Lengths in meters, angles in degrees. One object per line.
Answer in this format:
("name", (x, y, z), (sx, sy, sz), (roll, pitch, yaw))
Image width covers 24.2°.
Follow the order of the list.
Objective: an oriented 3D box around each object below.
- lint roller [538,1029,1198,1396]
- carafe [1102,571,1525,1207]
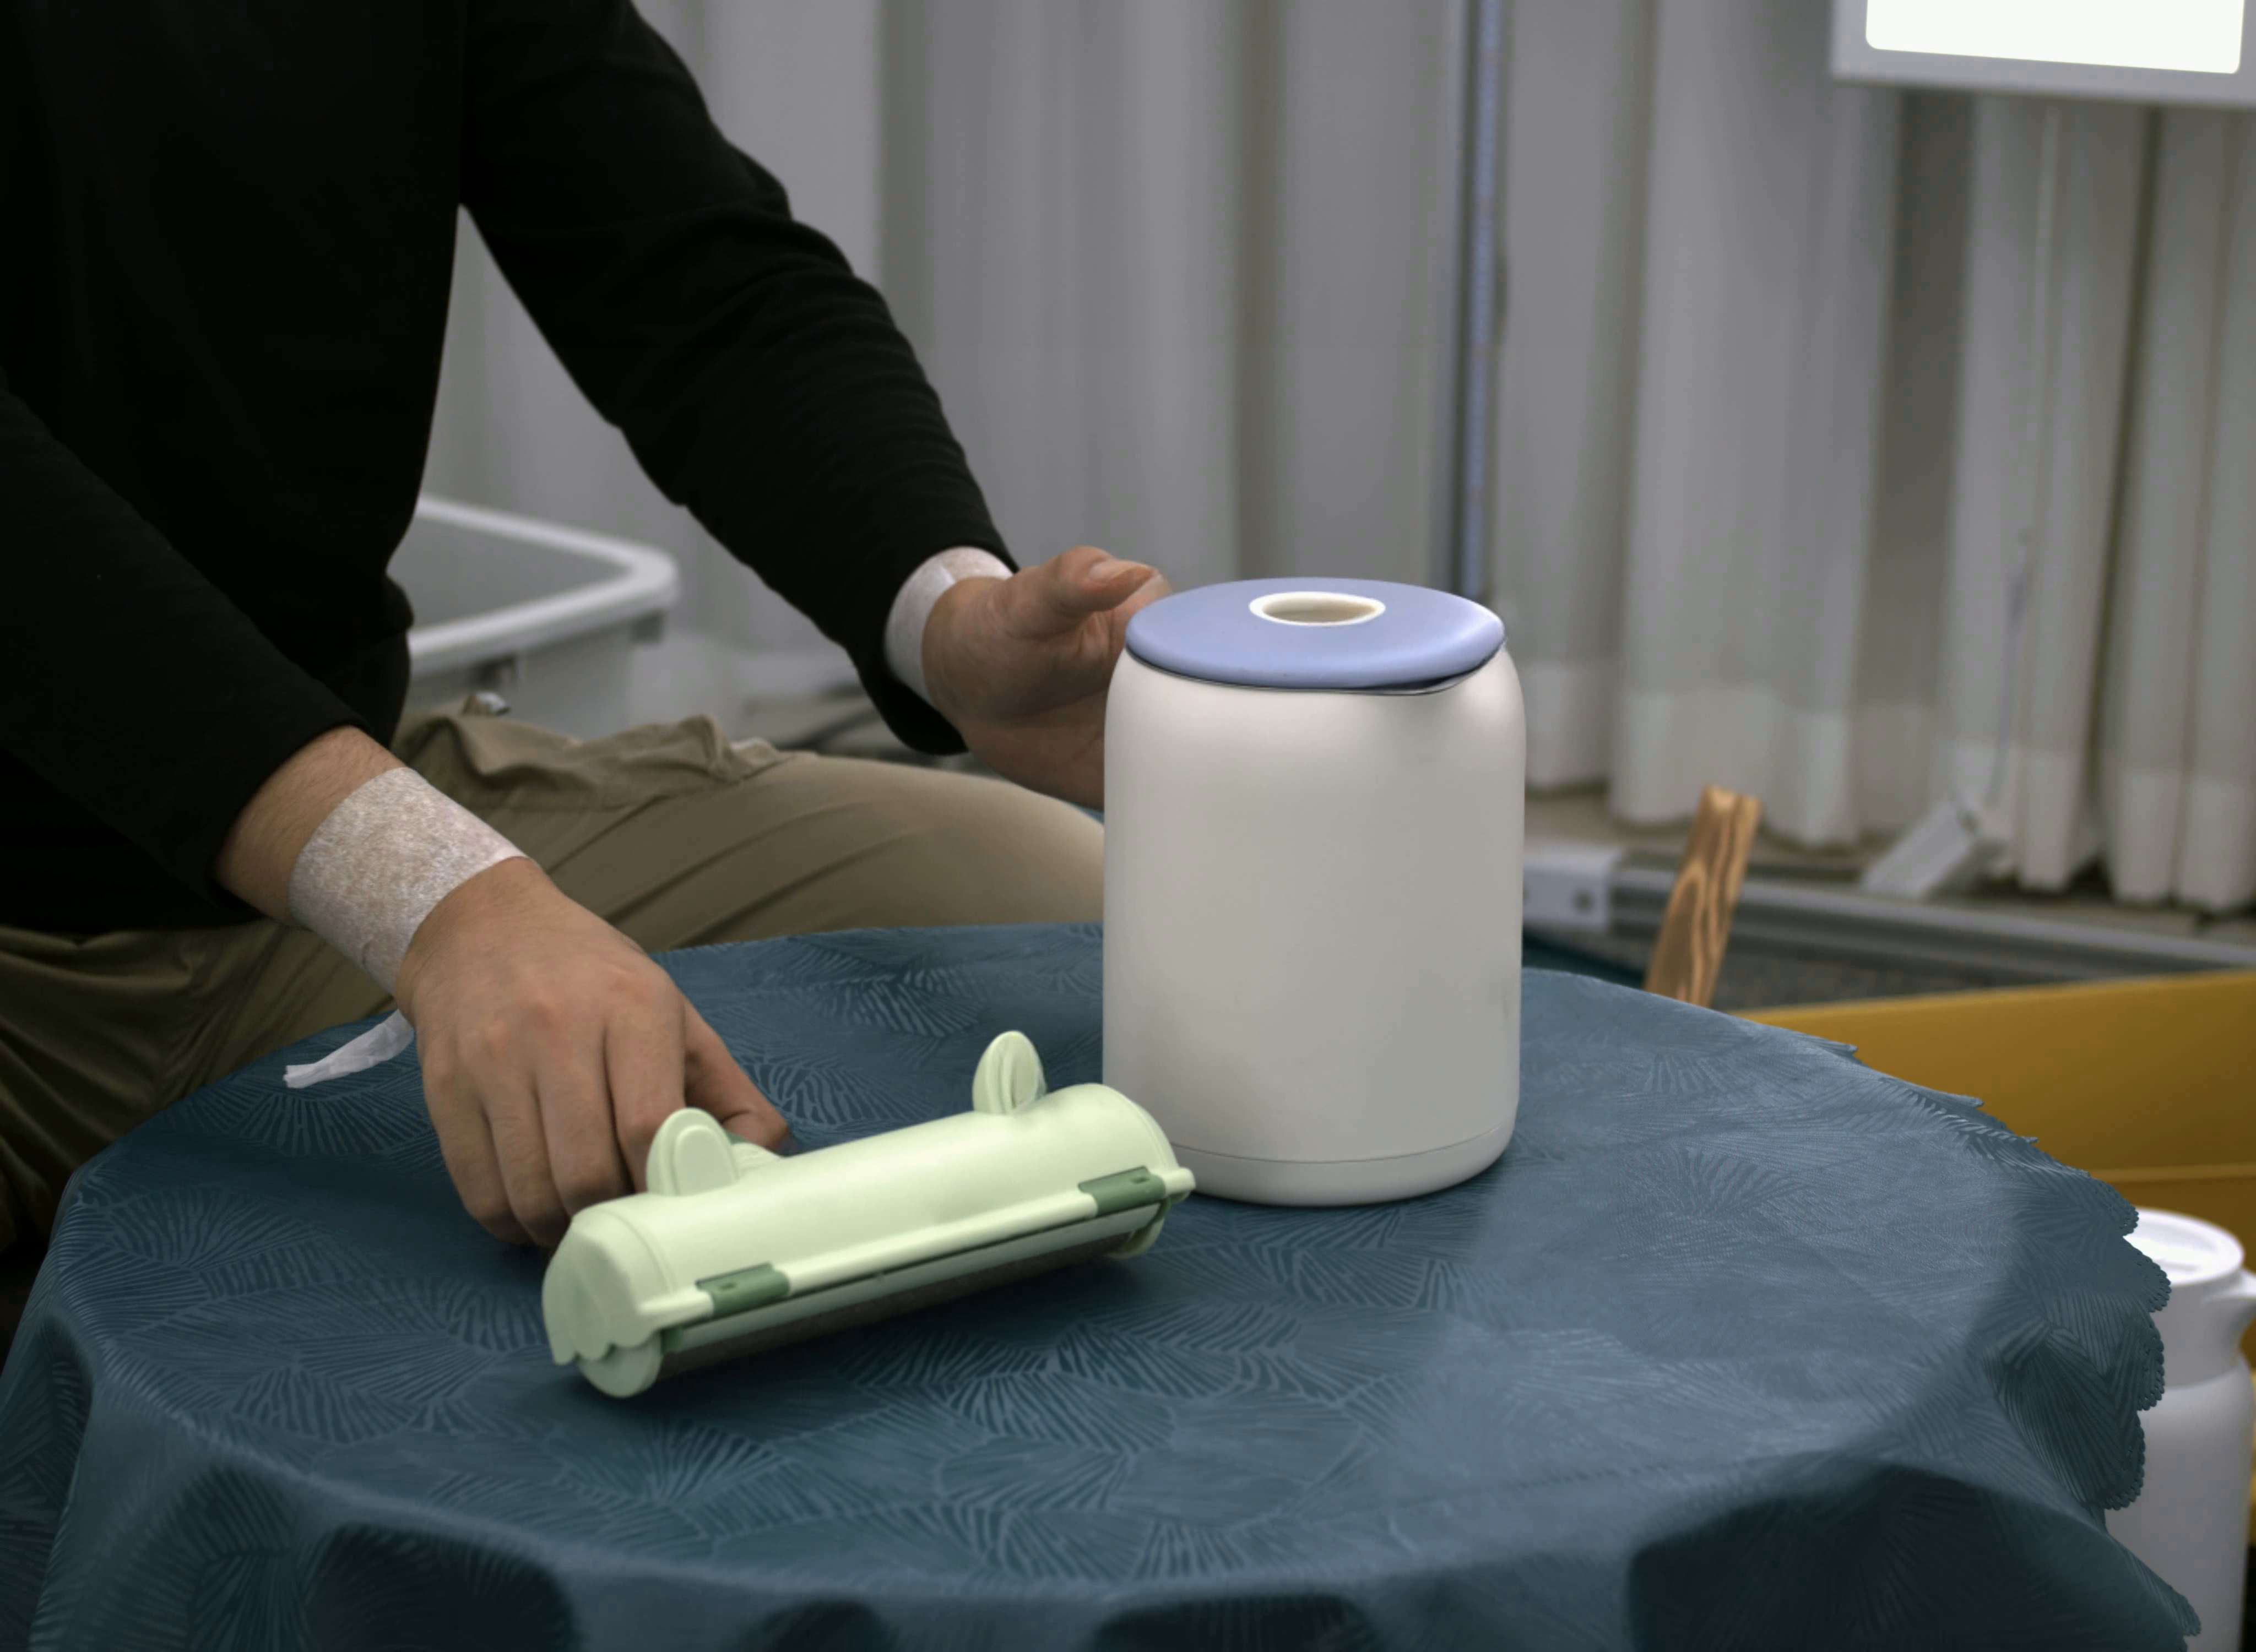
("lint roller", (-0.108, 0.095, 1.532), (0.199, 0.083, 0.181), (-11, 23, -39))
("carafe", (0.046, 0.013, 1.658), (0.133, 0.184, 0.189), (-8, 16, -29))
